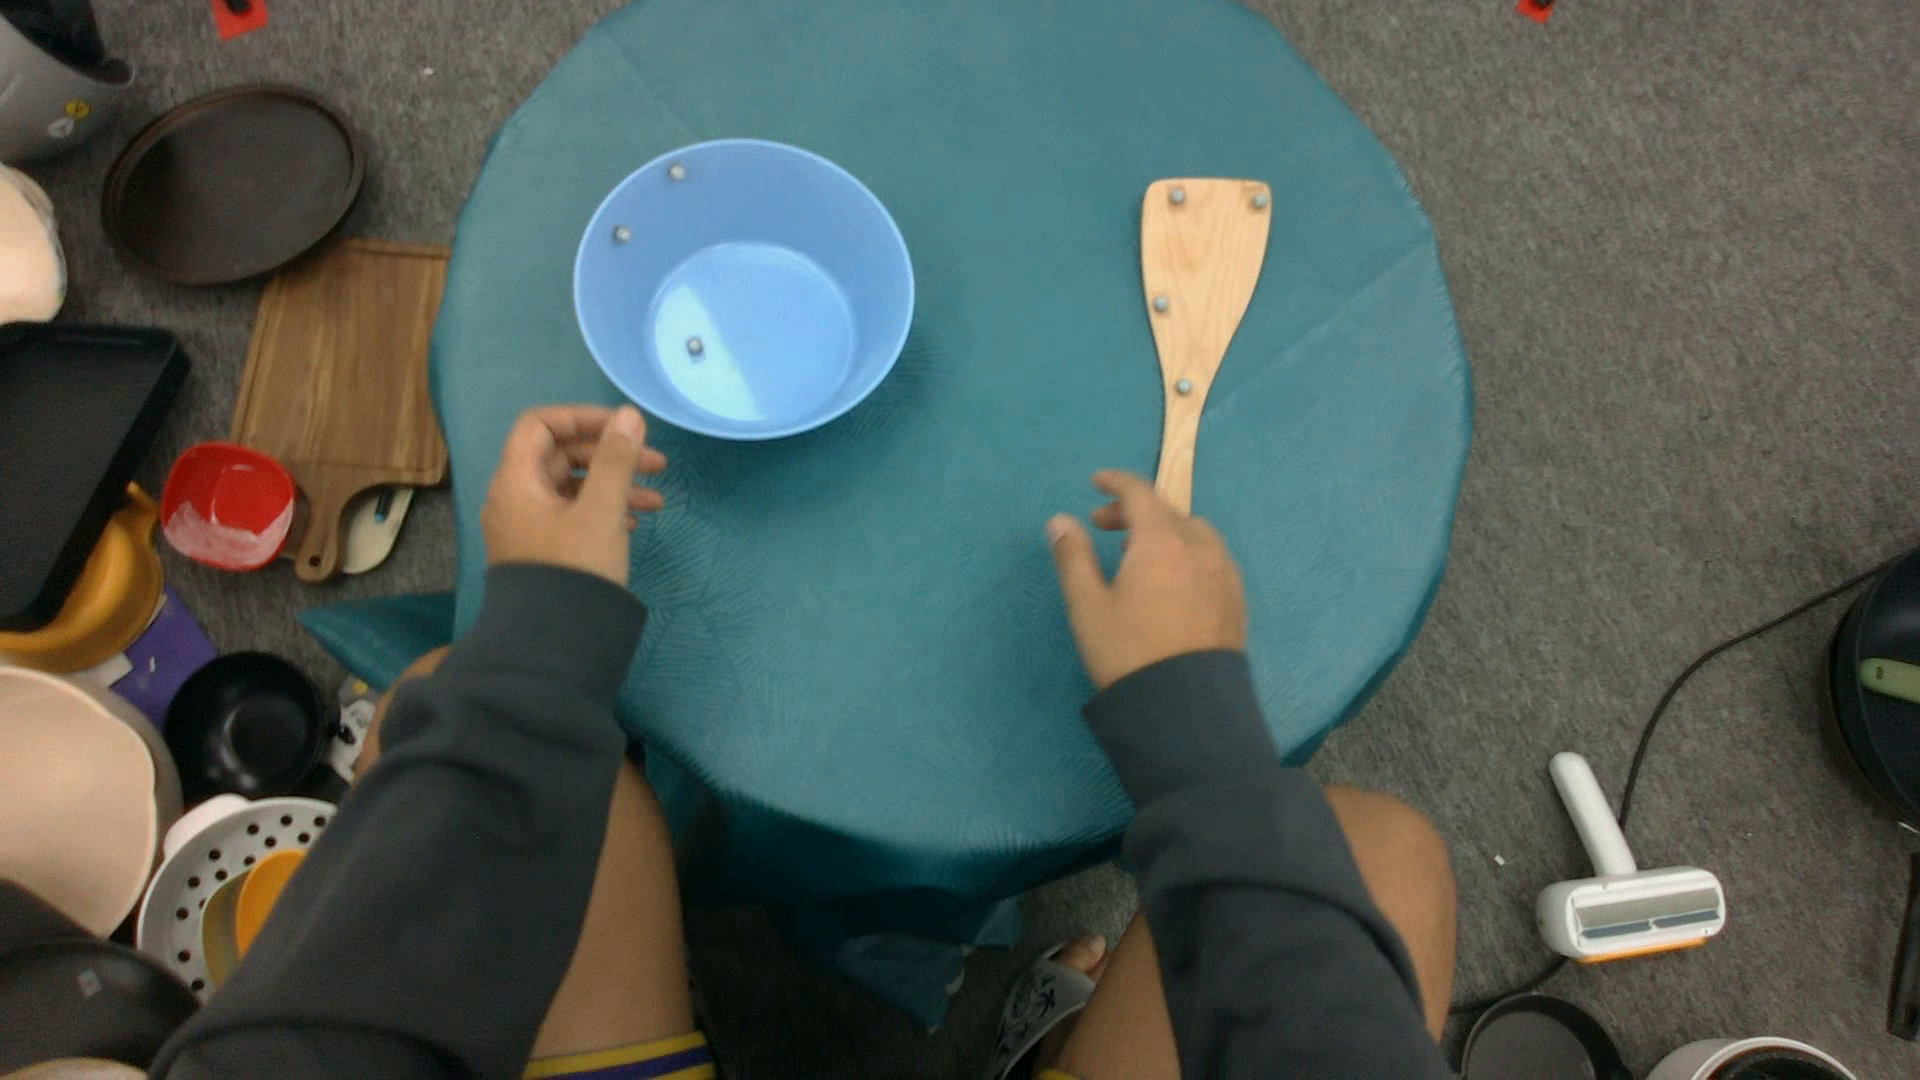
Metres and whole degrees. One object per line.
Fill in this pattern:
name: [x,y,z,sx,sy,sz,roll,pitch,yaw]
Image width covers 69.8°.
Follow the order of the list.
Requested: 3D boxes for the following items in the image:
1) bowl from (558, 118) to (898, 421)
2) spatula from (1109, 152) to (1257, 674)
bowl: [-0.124,-0.135,0.747,0.176,0.070,0.176,2,72,-7]
spatula: [0.118,-0.083,0.793,0.080,0.016,0.328,11,72,-5]
